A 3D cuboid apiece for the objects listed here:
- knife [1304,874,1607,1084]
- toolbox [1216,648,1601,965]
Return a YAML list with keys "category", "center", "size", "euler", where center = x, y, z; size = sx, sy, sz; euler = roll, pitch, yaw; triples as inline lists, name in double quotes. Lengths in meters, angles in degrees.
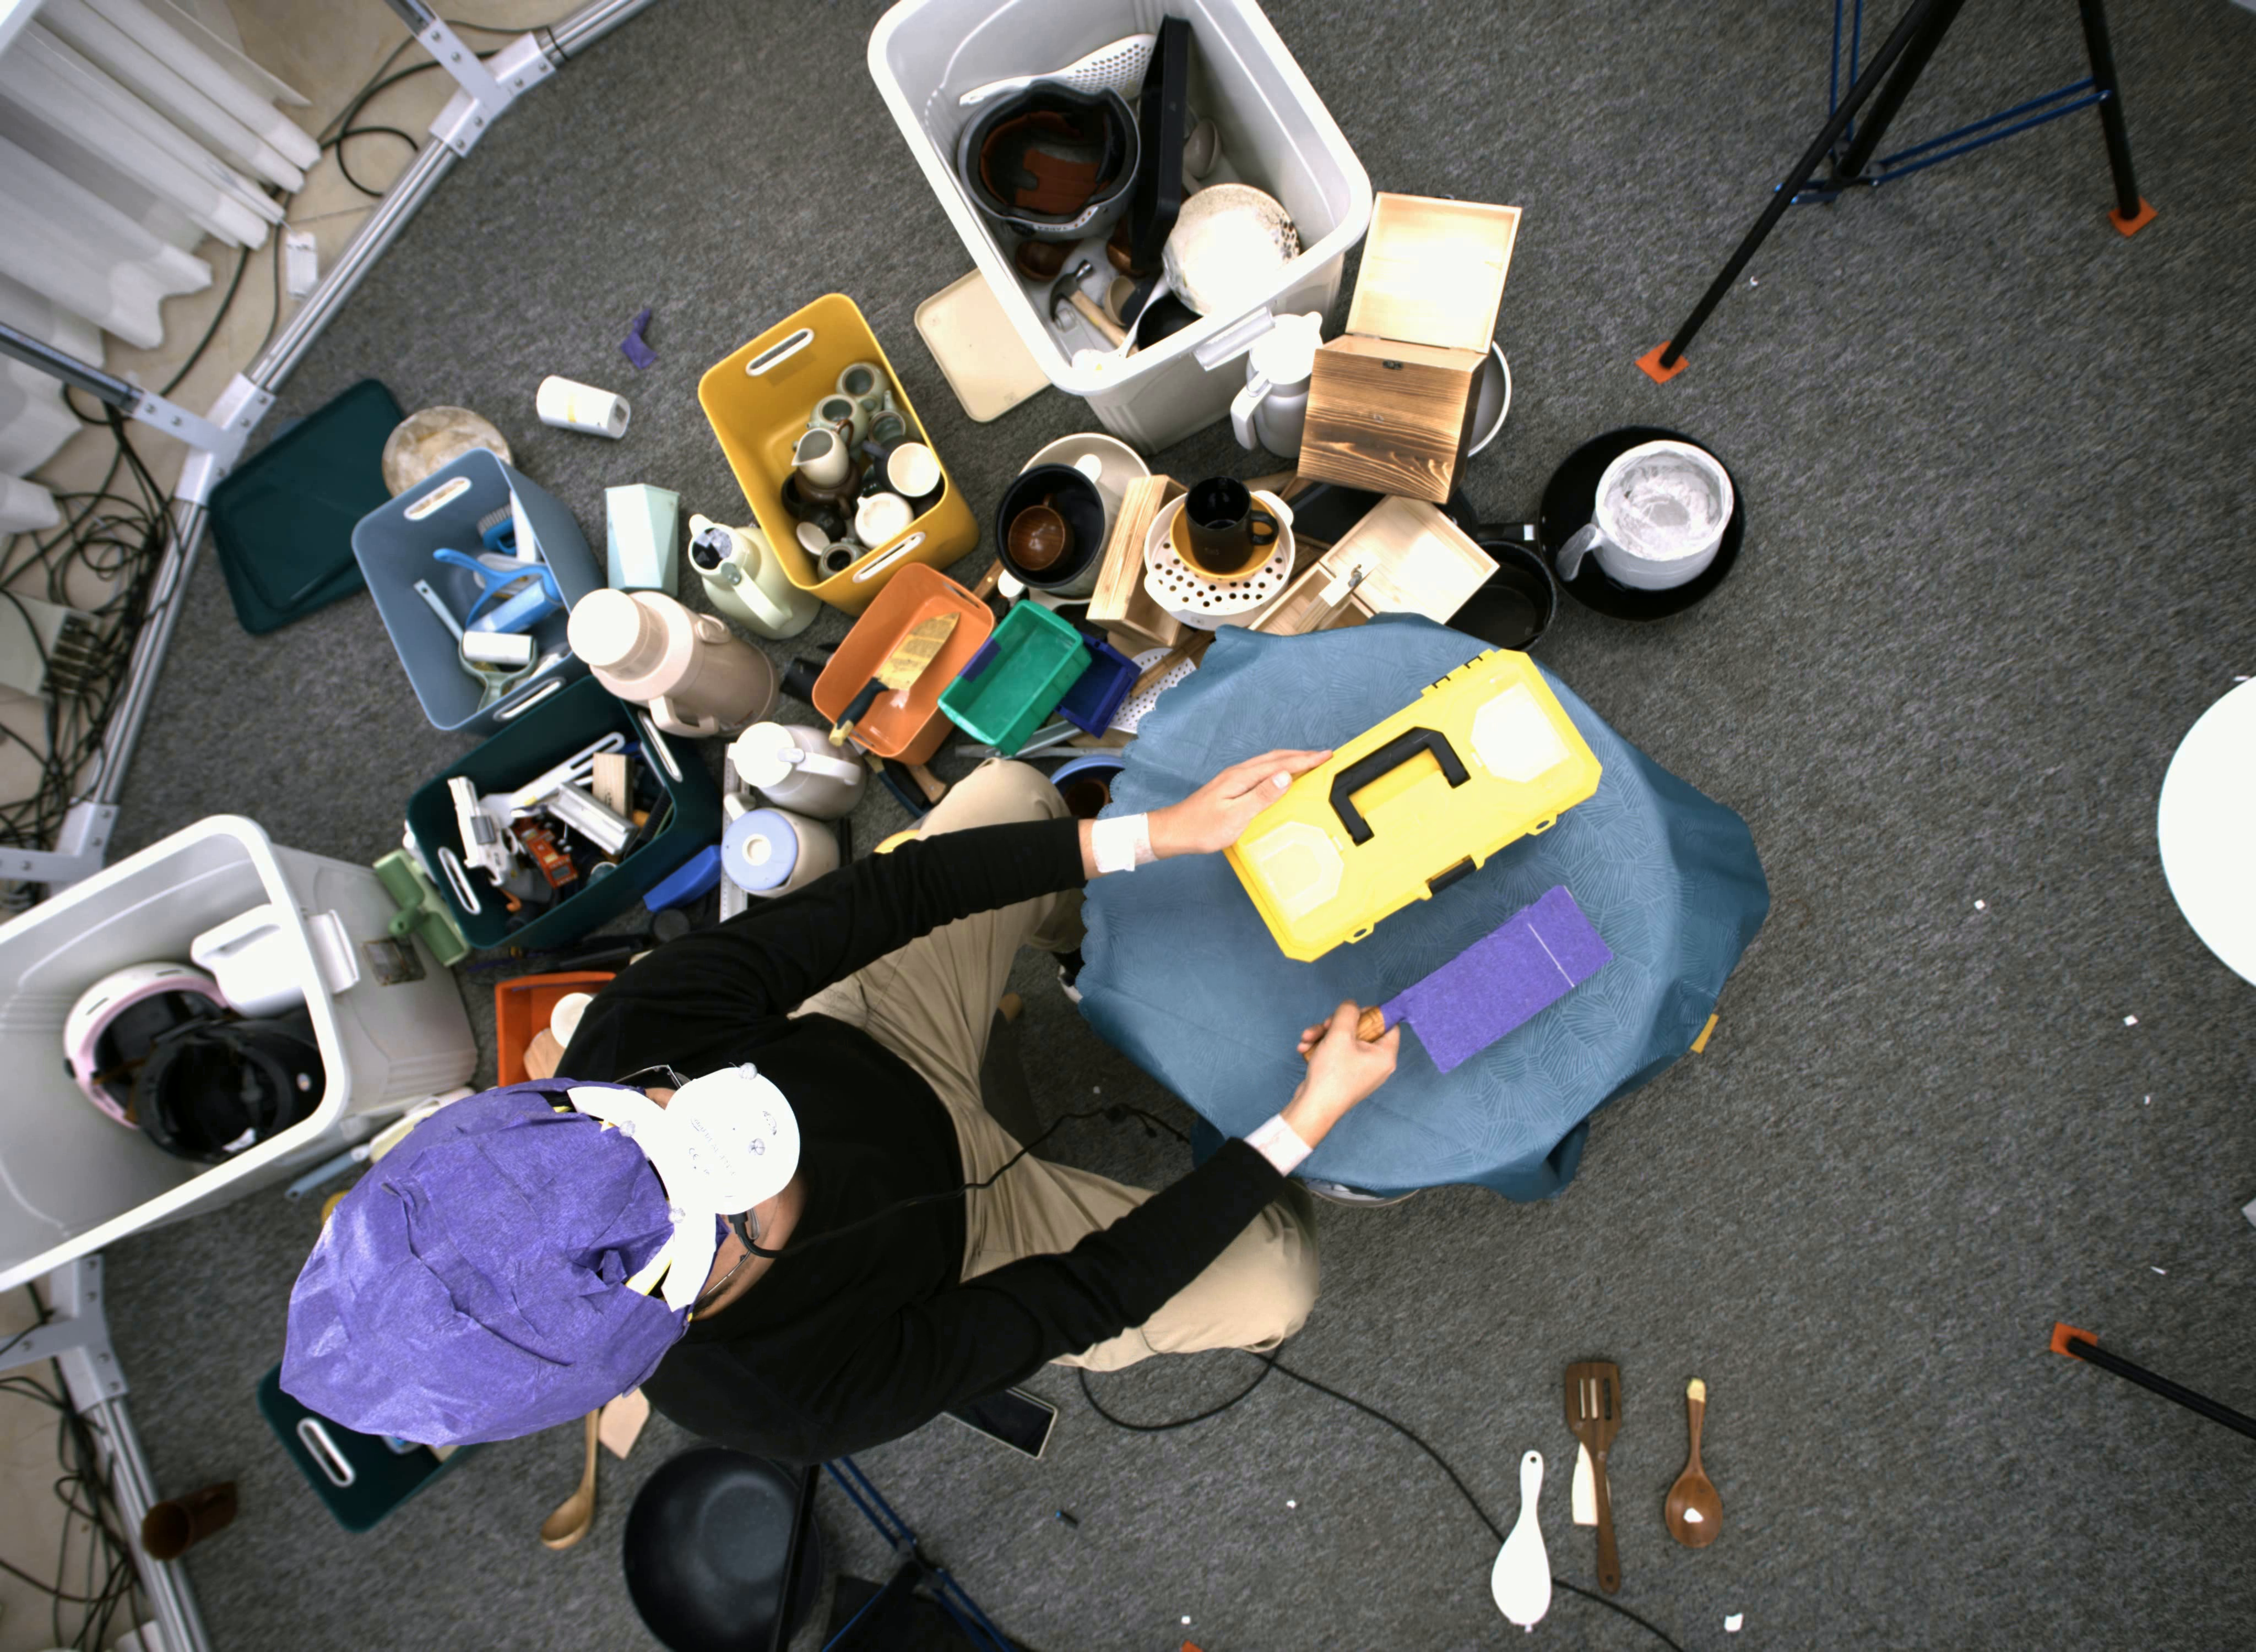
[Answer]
- category: "knife"
  center: [0.324, 0.174, 1.347]
  size: [0.316, 0.032, 0.103]
  euler: [-35, 88, 2]
- category: "toolbox"
  center: [0.277, -0.015, 1.376]
  size: [0.353, 0.173, 0.180]
  euler: [-31, 80, 8]
